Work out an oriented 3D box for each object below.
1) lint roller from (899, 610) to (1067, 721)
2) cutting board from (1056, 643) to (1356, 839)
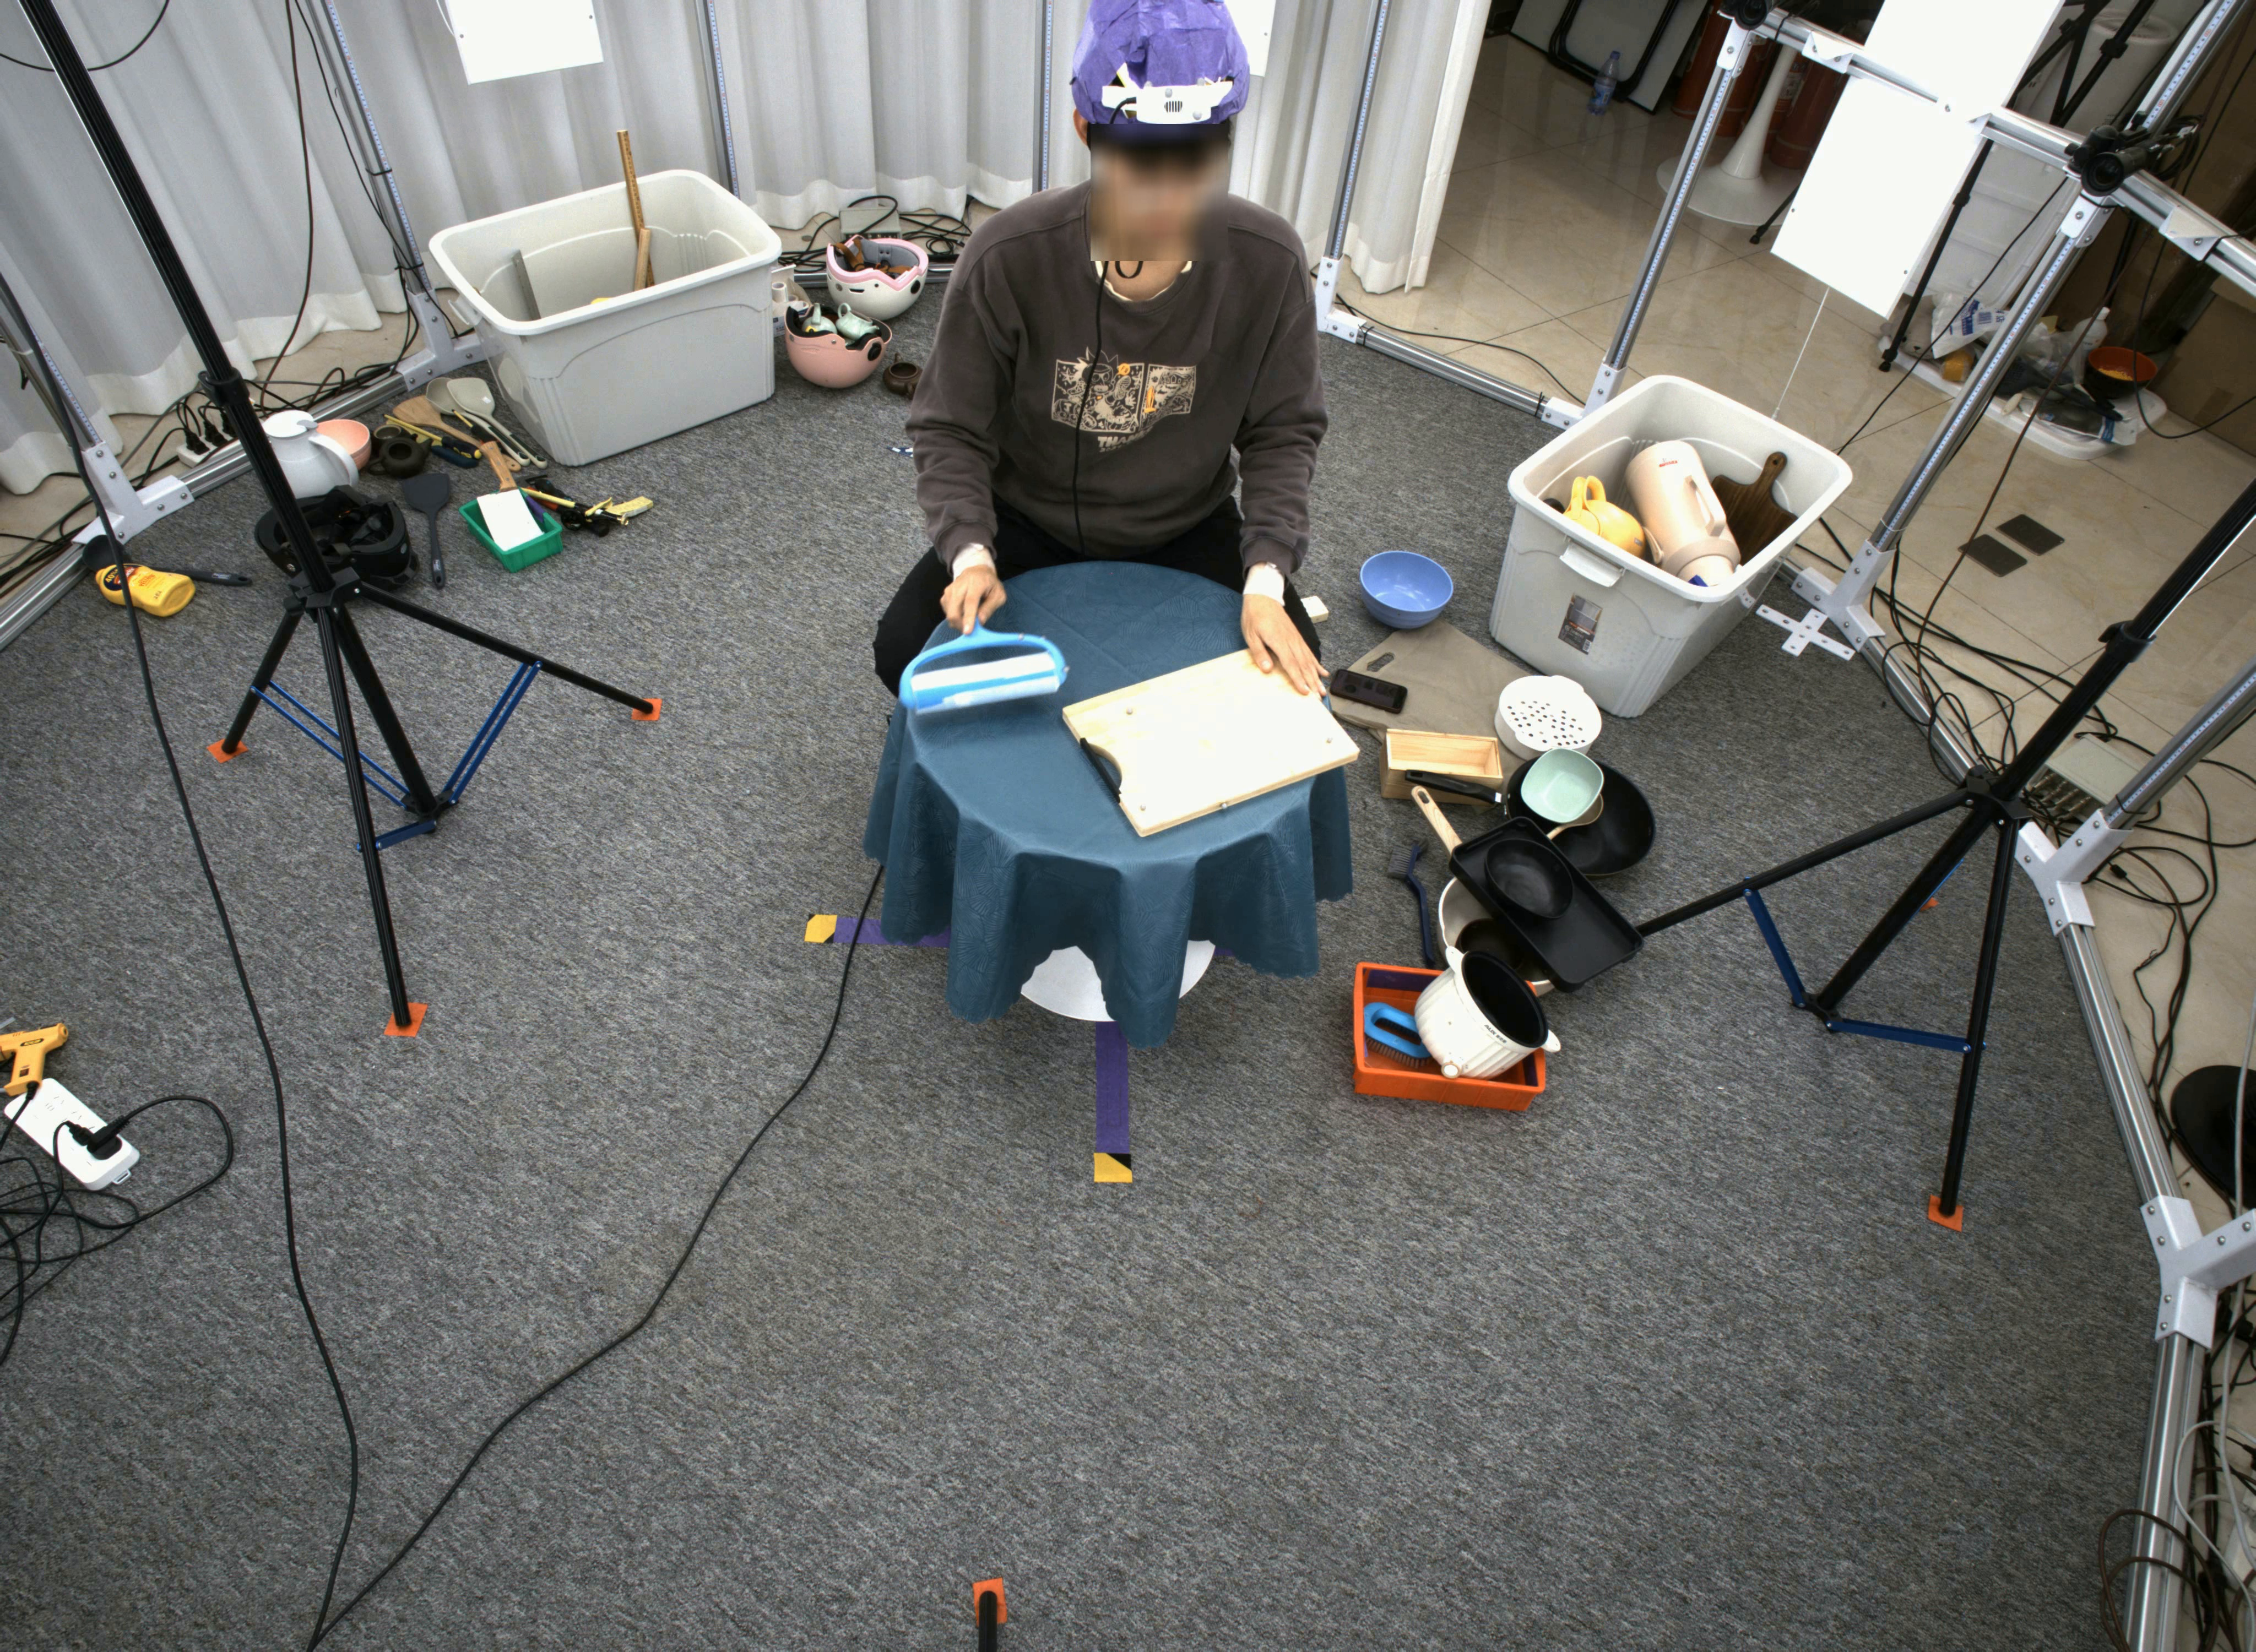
[{"bbox_3d":[-0.213,-0.240,1.776,0.229,0.066,0.184,-14,63,-9],"label":"lint roller"},{"bbox_3d":[0.108,-0.125,1.771,0.349,0.023,0.256,-20,53,-20],"label":"cutting board"}]
